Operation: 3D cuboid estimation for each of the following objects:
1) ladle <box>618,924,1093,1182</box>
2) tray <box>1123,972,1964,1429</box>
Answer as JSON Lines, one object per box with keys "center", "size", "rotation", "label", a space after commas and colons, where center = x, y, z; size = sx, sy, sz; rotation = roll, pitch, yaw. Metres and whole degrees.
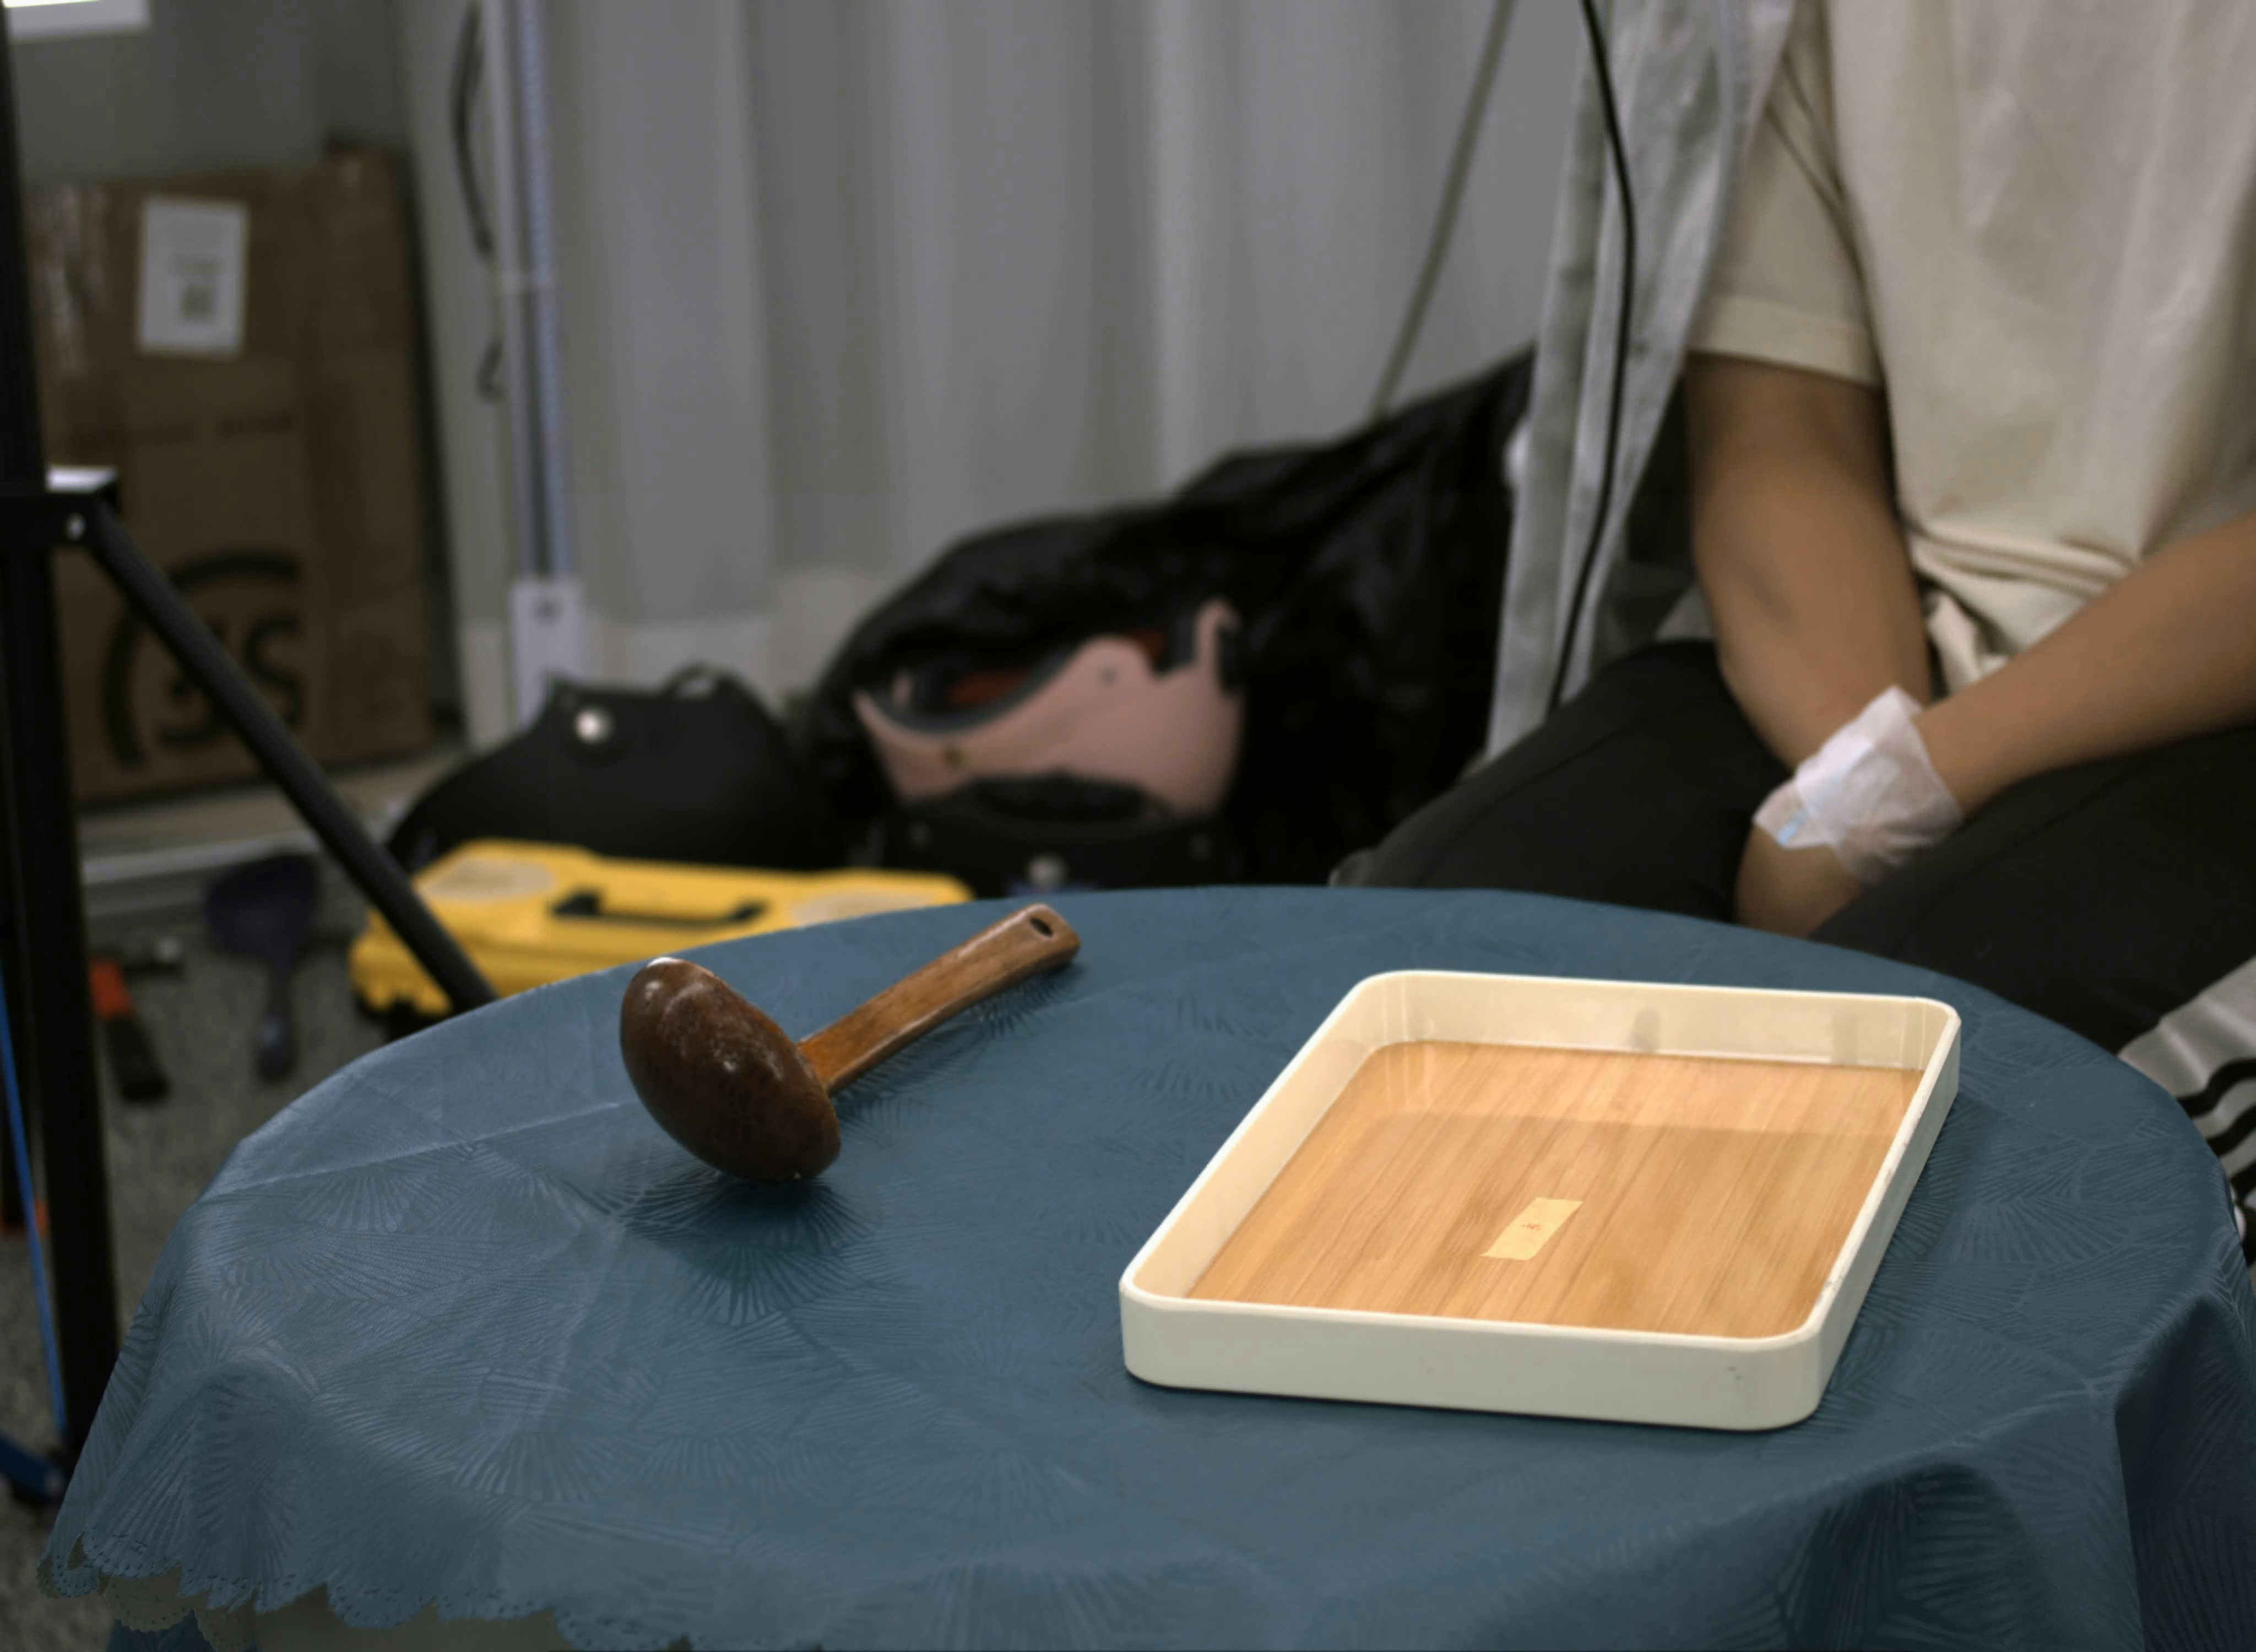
{"center": [-0.069, 0.048, 1.653], "size": [0.083, 0.077, 0.269], "rotation": [46, 31, 11], "label": "ladle"}
{"center": [0.126, 0.101, 1.508], "size": [0.193, 0.027, 0.297], "rotation": [2, 16, 17], "label": "tray"}
